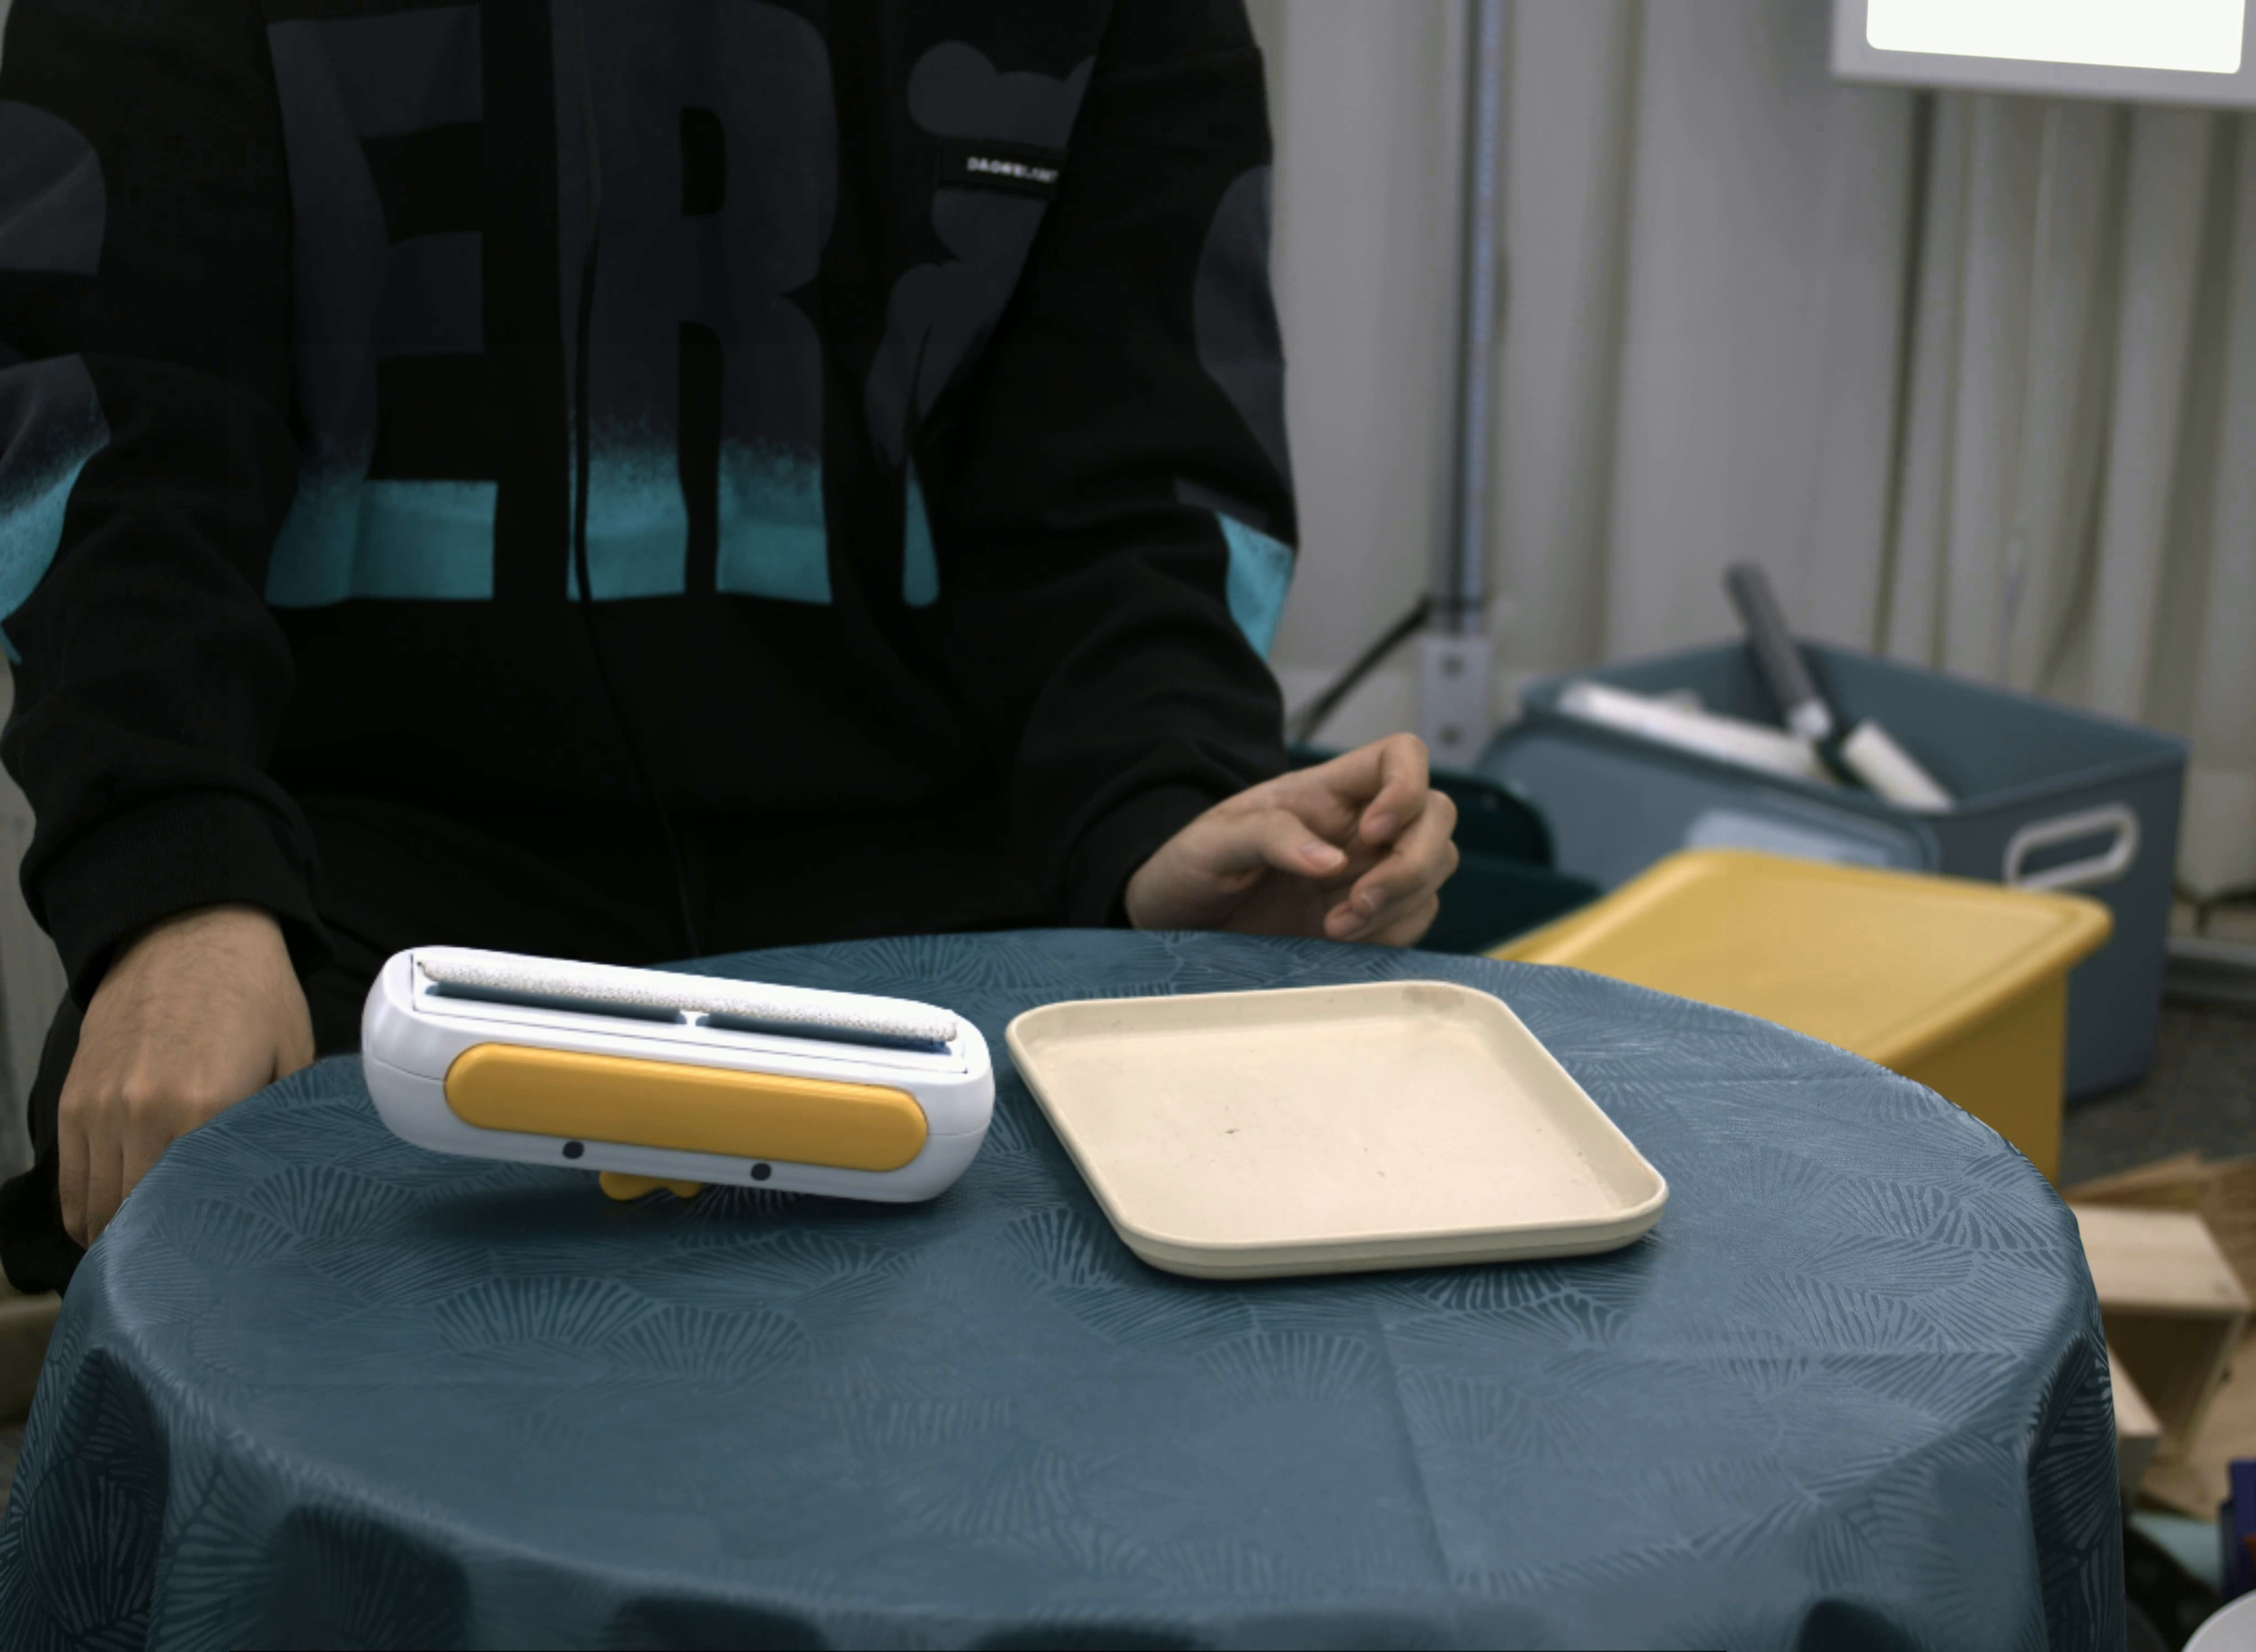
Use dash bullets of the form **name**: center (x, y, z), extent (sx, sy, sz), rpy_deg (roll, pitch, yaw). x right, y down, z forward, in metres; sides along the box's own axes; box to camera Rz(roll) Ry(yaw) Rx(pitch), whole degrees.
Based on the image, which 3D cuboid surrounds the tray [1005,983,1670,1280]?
- **tray**: center (0.061, 0.094, 1.653), extent (0.171, 0.017, 0.237), rpy_deg (-3, 16, -11)

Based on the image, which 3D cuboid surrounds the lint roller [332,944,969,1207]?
- **lint roller**: center (-0.150, 0.068, 1.650), extent (0.193, 0.075, 0.191), rpy_deg (4, 13, -8)
